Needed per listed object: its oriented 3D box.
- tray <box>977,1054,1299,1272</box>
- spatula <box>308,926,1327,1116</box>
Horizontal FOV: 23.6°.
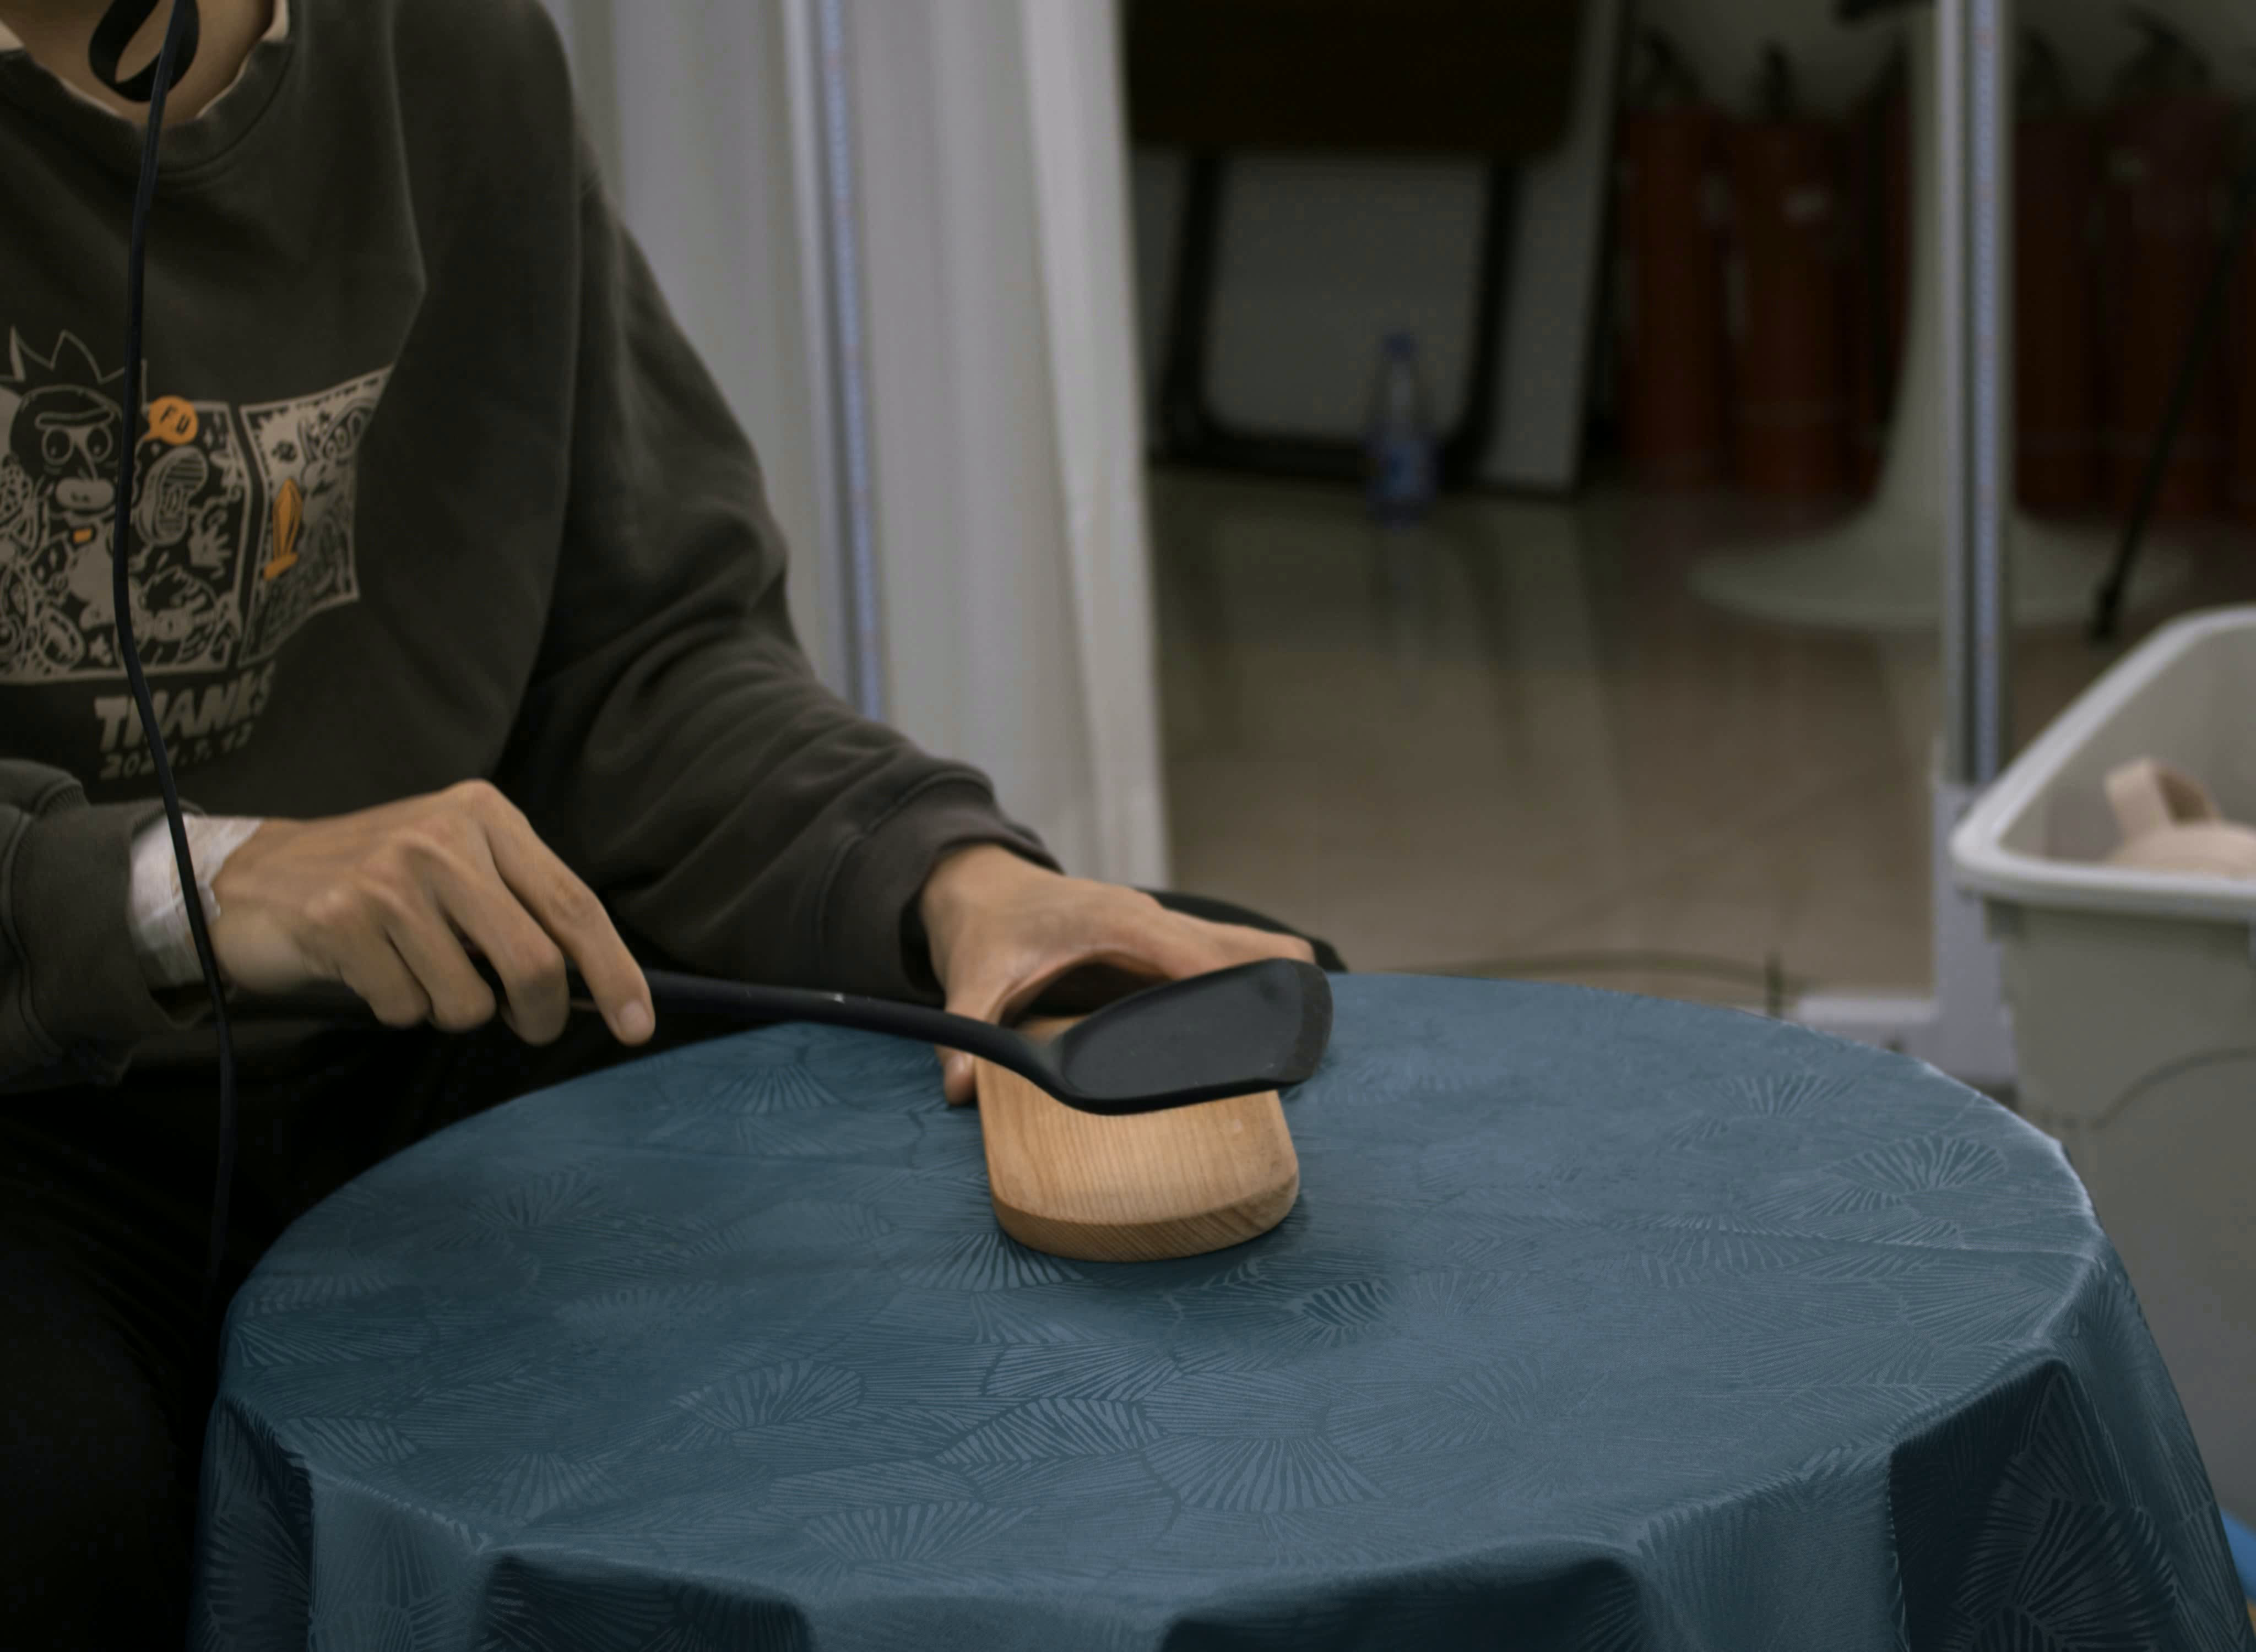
[{"bbox_3d":[0.002,0.107,1.803,0.100,0.020,0.232,-6,15,-2],"label":"tray"},{"bbox_3d":[-0.099,0.051,1.705,0.322,0.041,0.099,10,20,3],"label":"spatula"}]
